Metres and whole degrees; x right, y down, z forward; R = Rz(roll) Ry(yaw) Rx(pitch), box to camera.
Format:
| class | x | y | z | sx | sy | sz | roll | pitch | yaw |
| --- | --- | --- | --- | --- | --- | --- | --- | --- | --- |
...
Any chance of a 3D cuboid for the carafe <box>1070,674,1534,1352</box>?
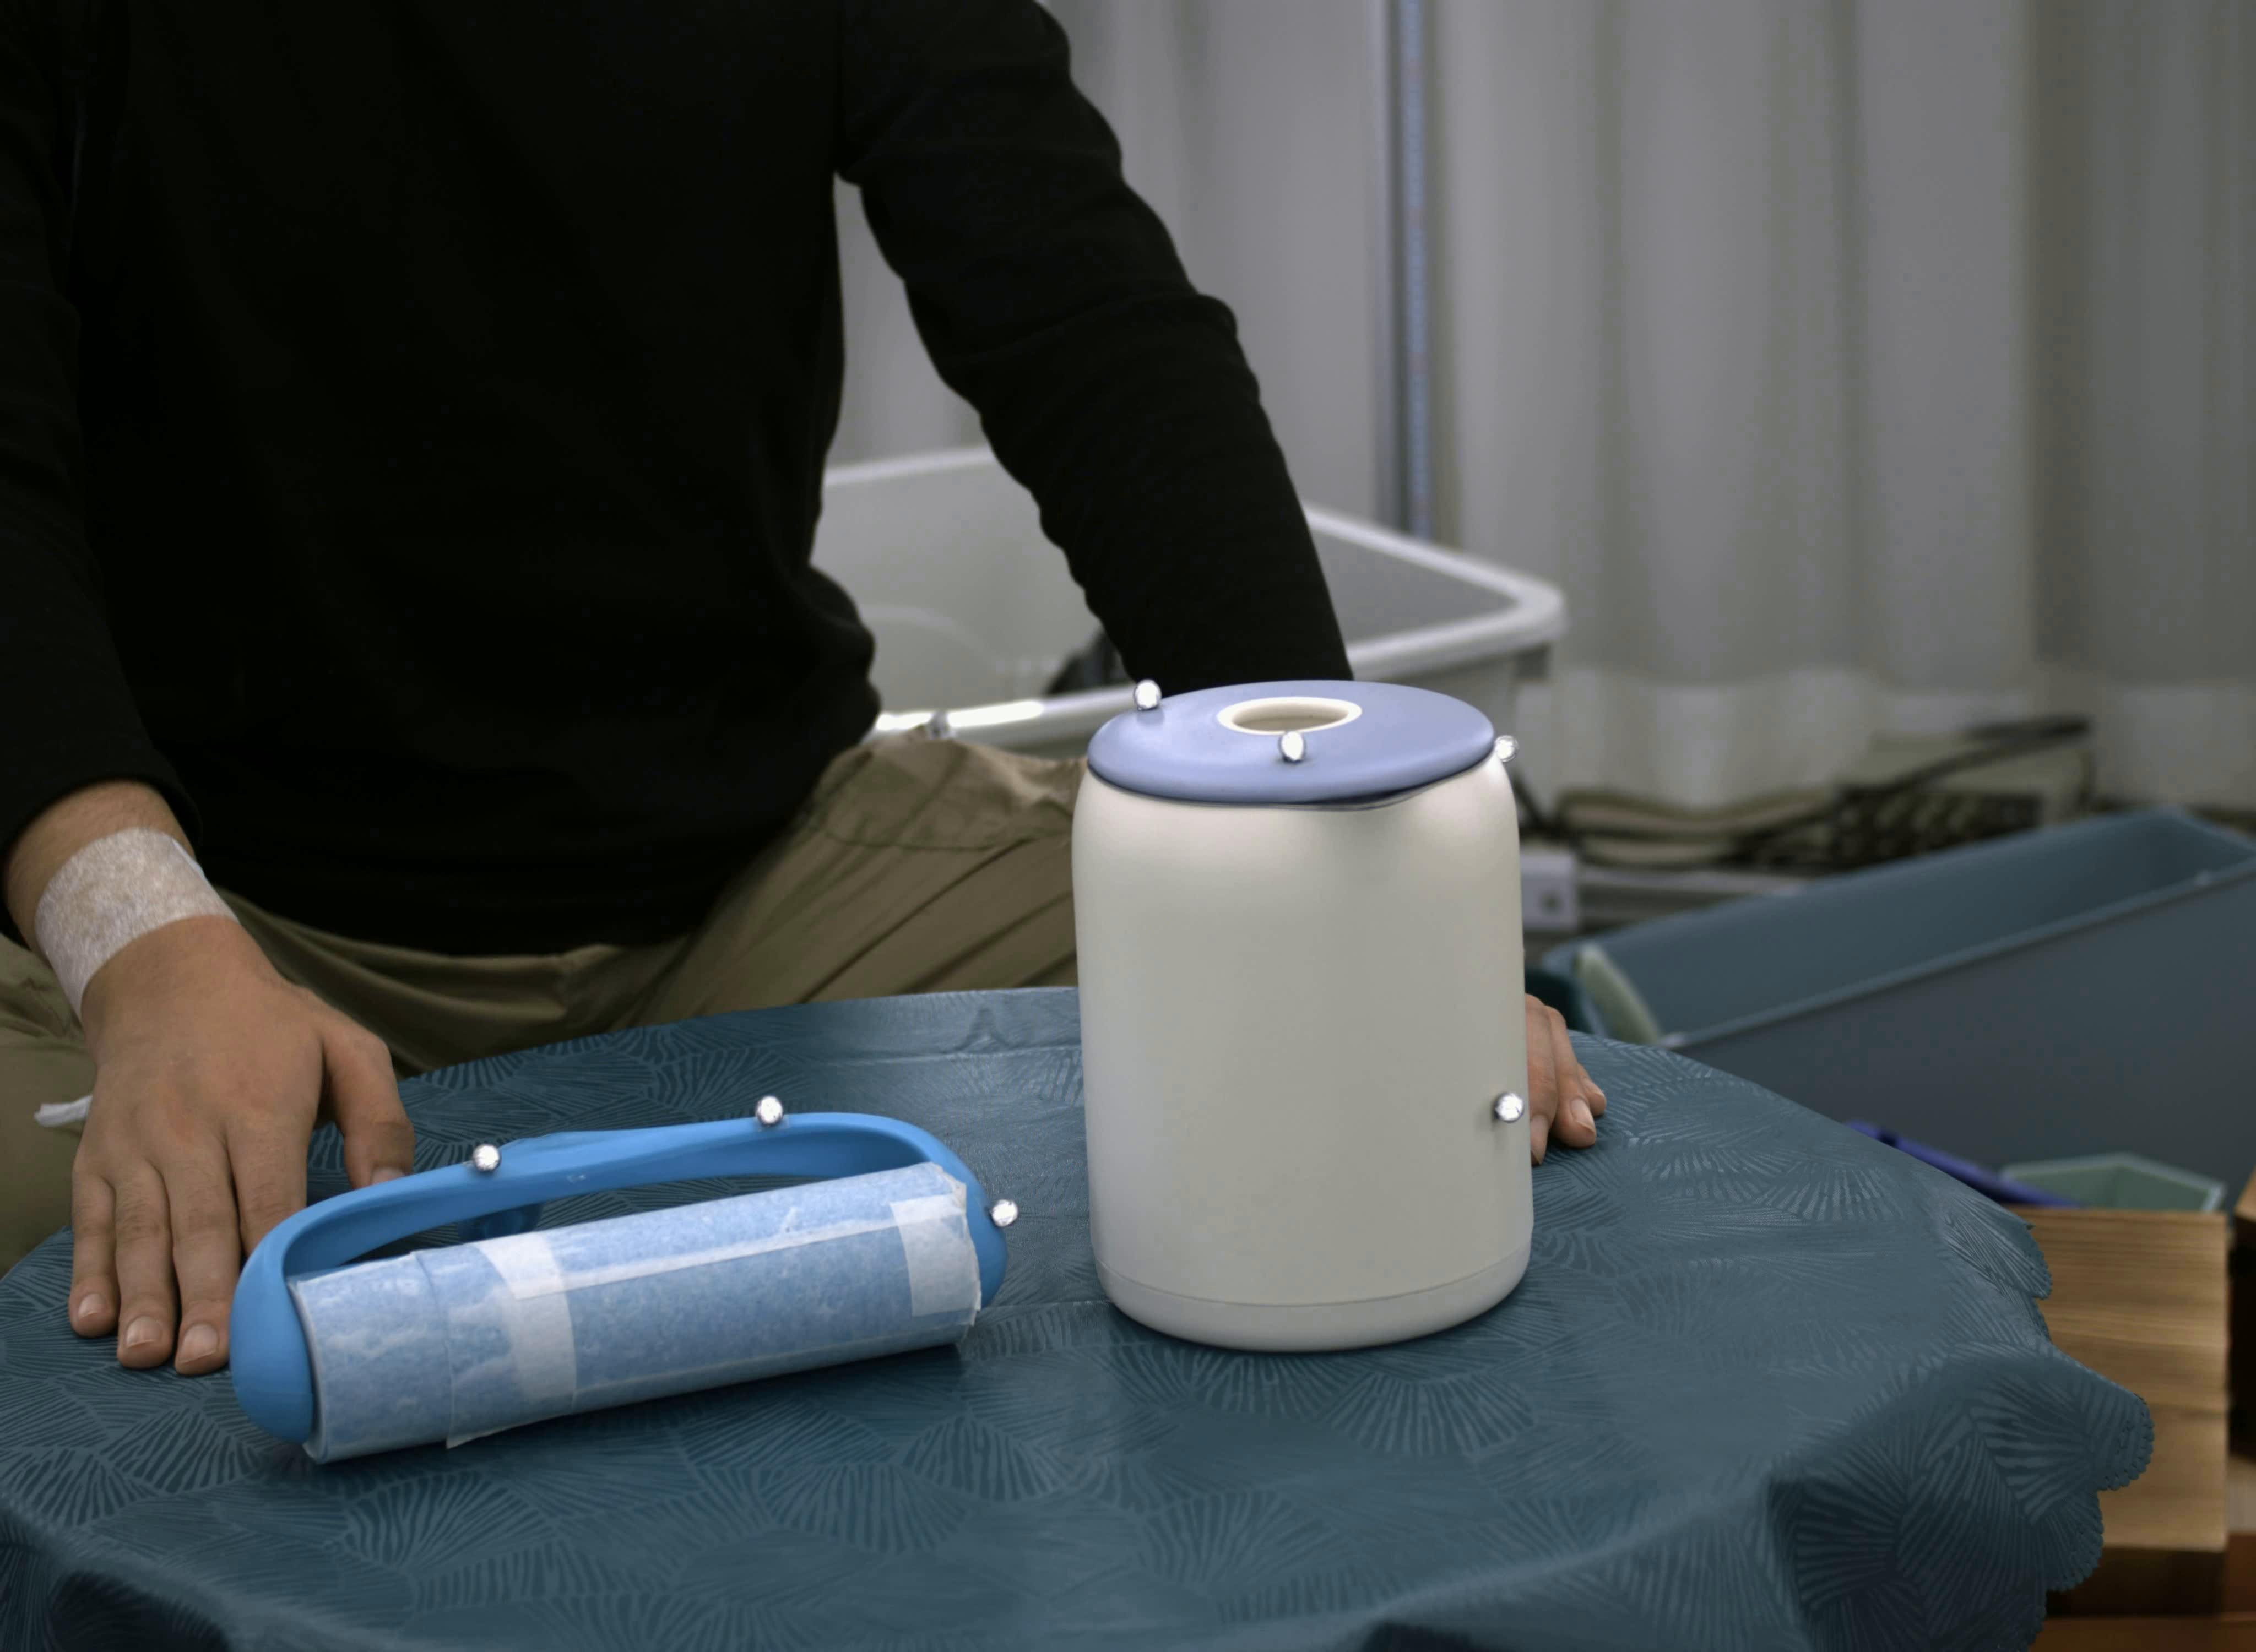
| class | x | y | z | sx | sy | sz | roll | pitch | yaw |
| --- | --- | --- | --- | --- | --- | --- | --- | --- | --- |
| carafe | 0.043 | 0.048 | 1.624 | 0.131 | 0.182 | 0.192 | -7 | 12 | -18 |

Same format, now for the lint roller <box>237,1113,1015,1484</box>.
| class | x | y | z | sx | sy | sz | roll | pitch | yaw |
| --- | --- | --- | --- | --- | --- | --- | --- | --- | --- |
| lint roller | -0.165 | 0.121 | 1.607 | 0.228 | 0.067 | 0.182 | -12 | 23 | -21 |
